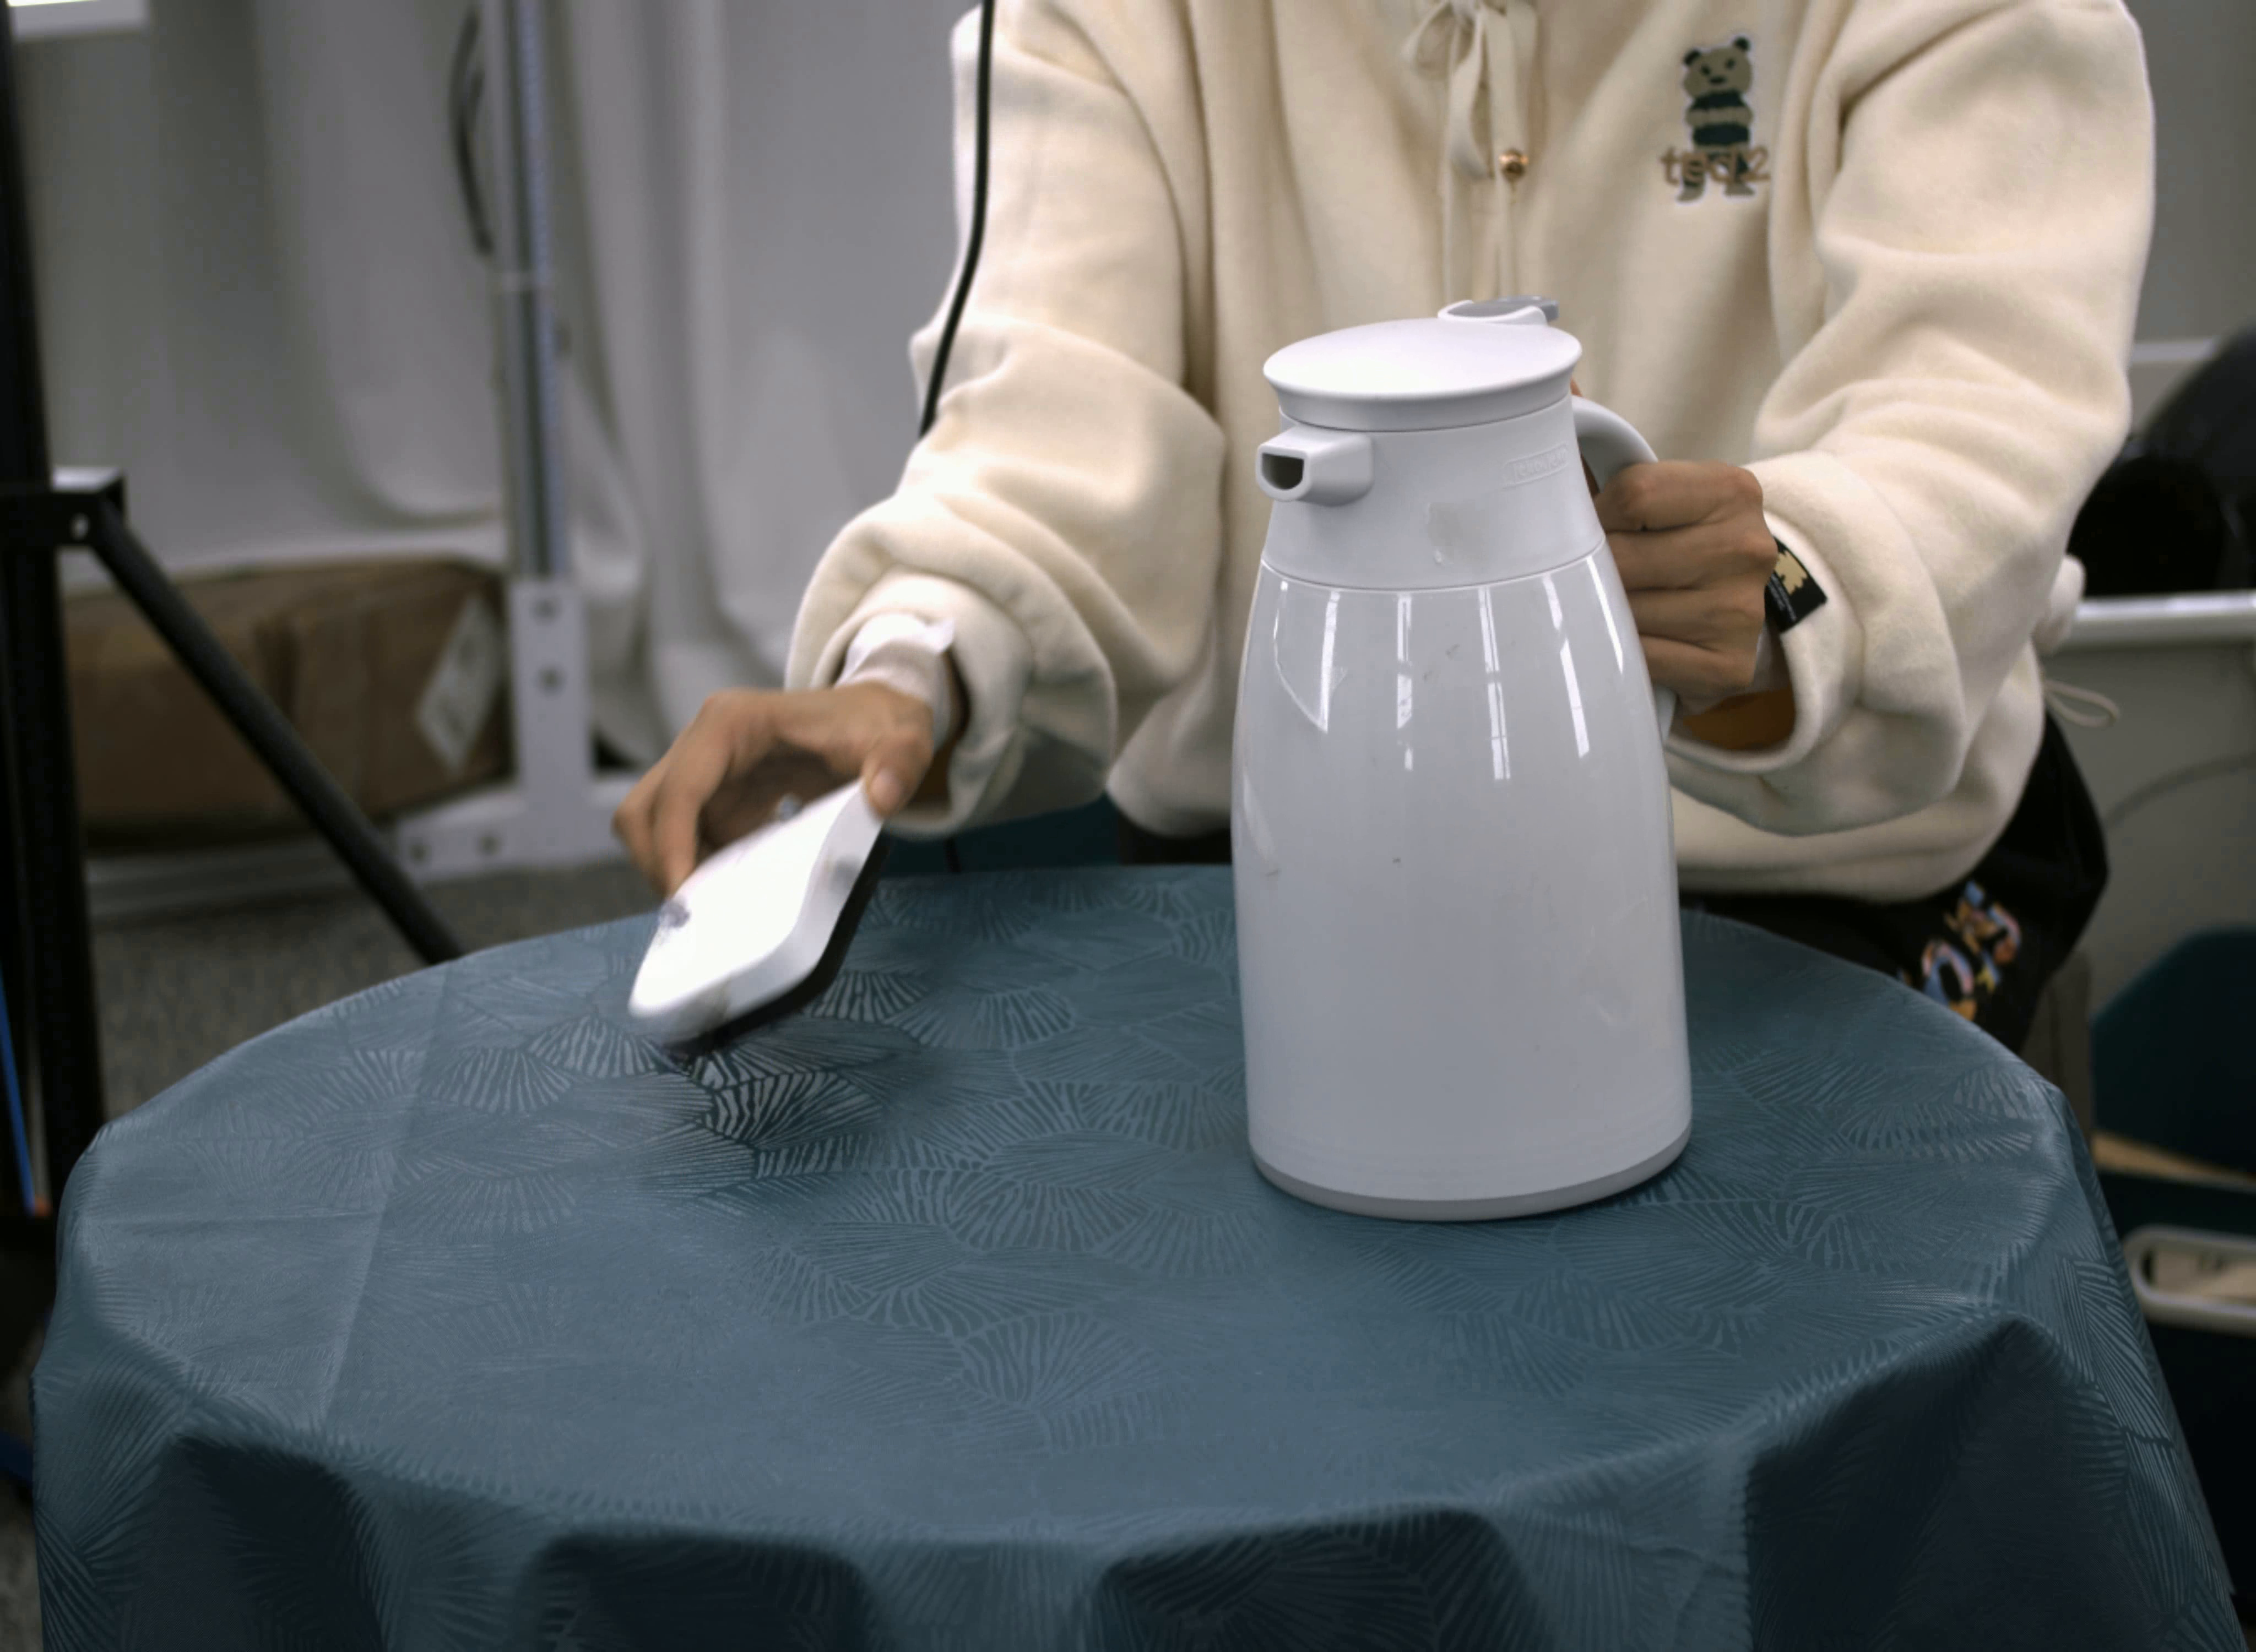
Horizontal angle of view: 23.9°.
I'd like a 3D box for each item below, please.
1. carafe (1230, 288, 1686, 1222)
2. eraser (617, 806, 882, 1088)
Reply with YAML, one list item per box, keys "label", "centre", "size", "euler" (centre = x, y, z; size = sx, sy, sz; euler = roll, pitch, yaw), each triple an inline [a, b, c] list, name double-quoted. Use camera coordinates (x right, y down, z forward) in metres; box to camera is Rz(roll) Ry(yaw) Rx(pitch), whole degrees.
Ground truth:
- label: "carafe"
  centre: [0.105, -0.029, 1.554]
  size: [0.135, 0.248, 0.164]
  euler: [11, 22, 43]
- label: "eraser"
  centre: [-0.115, 0.033, 1.646]
  size: [0.064, 0.034, 0.131]
  euler: [-23, 19, 19]
